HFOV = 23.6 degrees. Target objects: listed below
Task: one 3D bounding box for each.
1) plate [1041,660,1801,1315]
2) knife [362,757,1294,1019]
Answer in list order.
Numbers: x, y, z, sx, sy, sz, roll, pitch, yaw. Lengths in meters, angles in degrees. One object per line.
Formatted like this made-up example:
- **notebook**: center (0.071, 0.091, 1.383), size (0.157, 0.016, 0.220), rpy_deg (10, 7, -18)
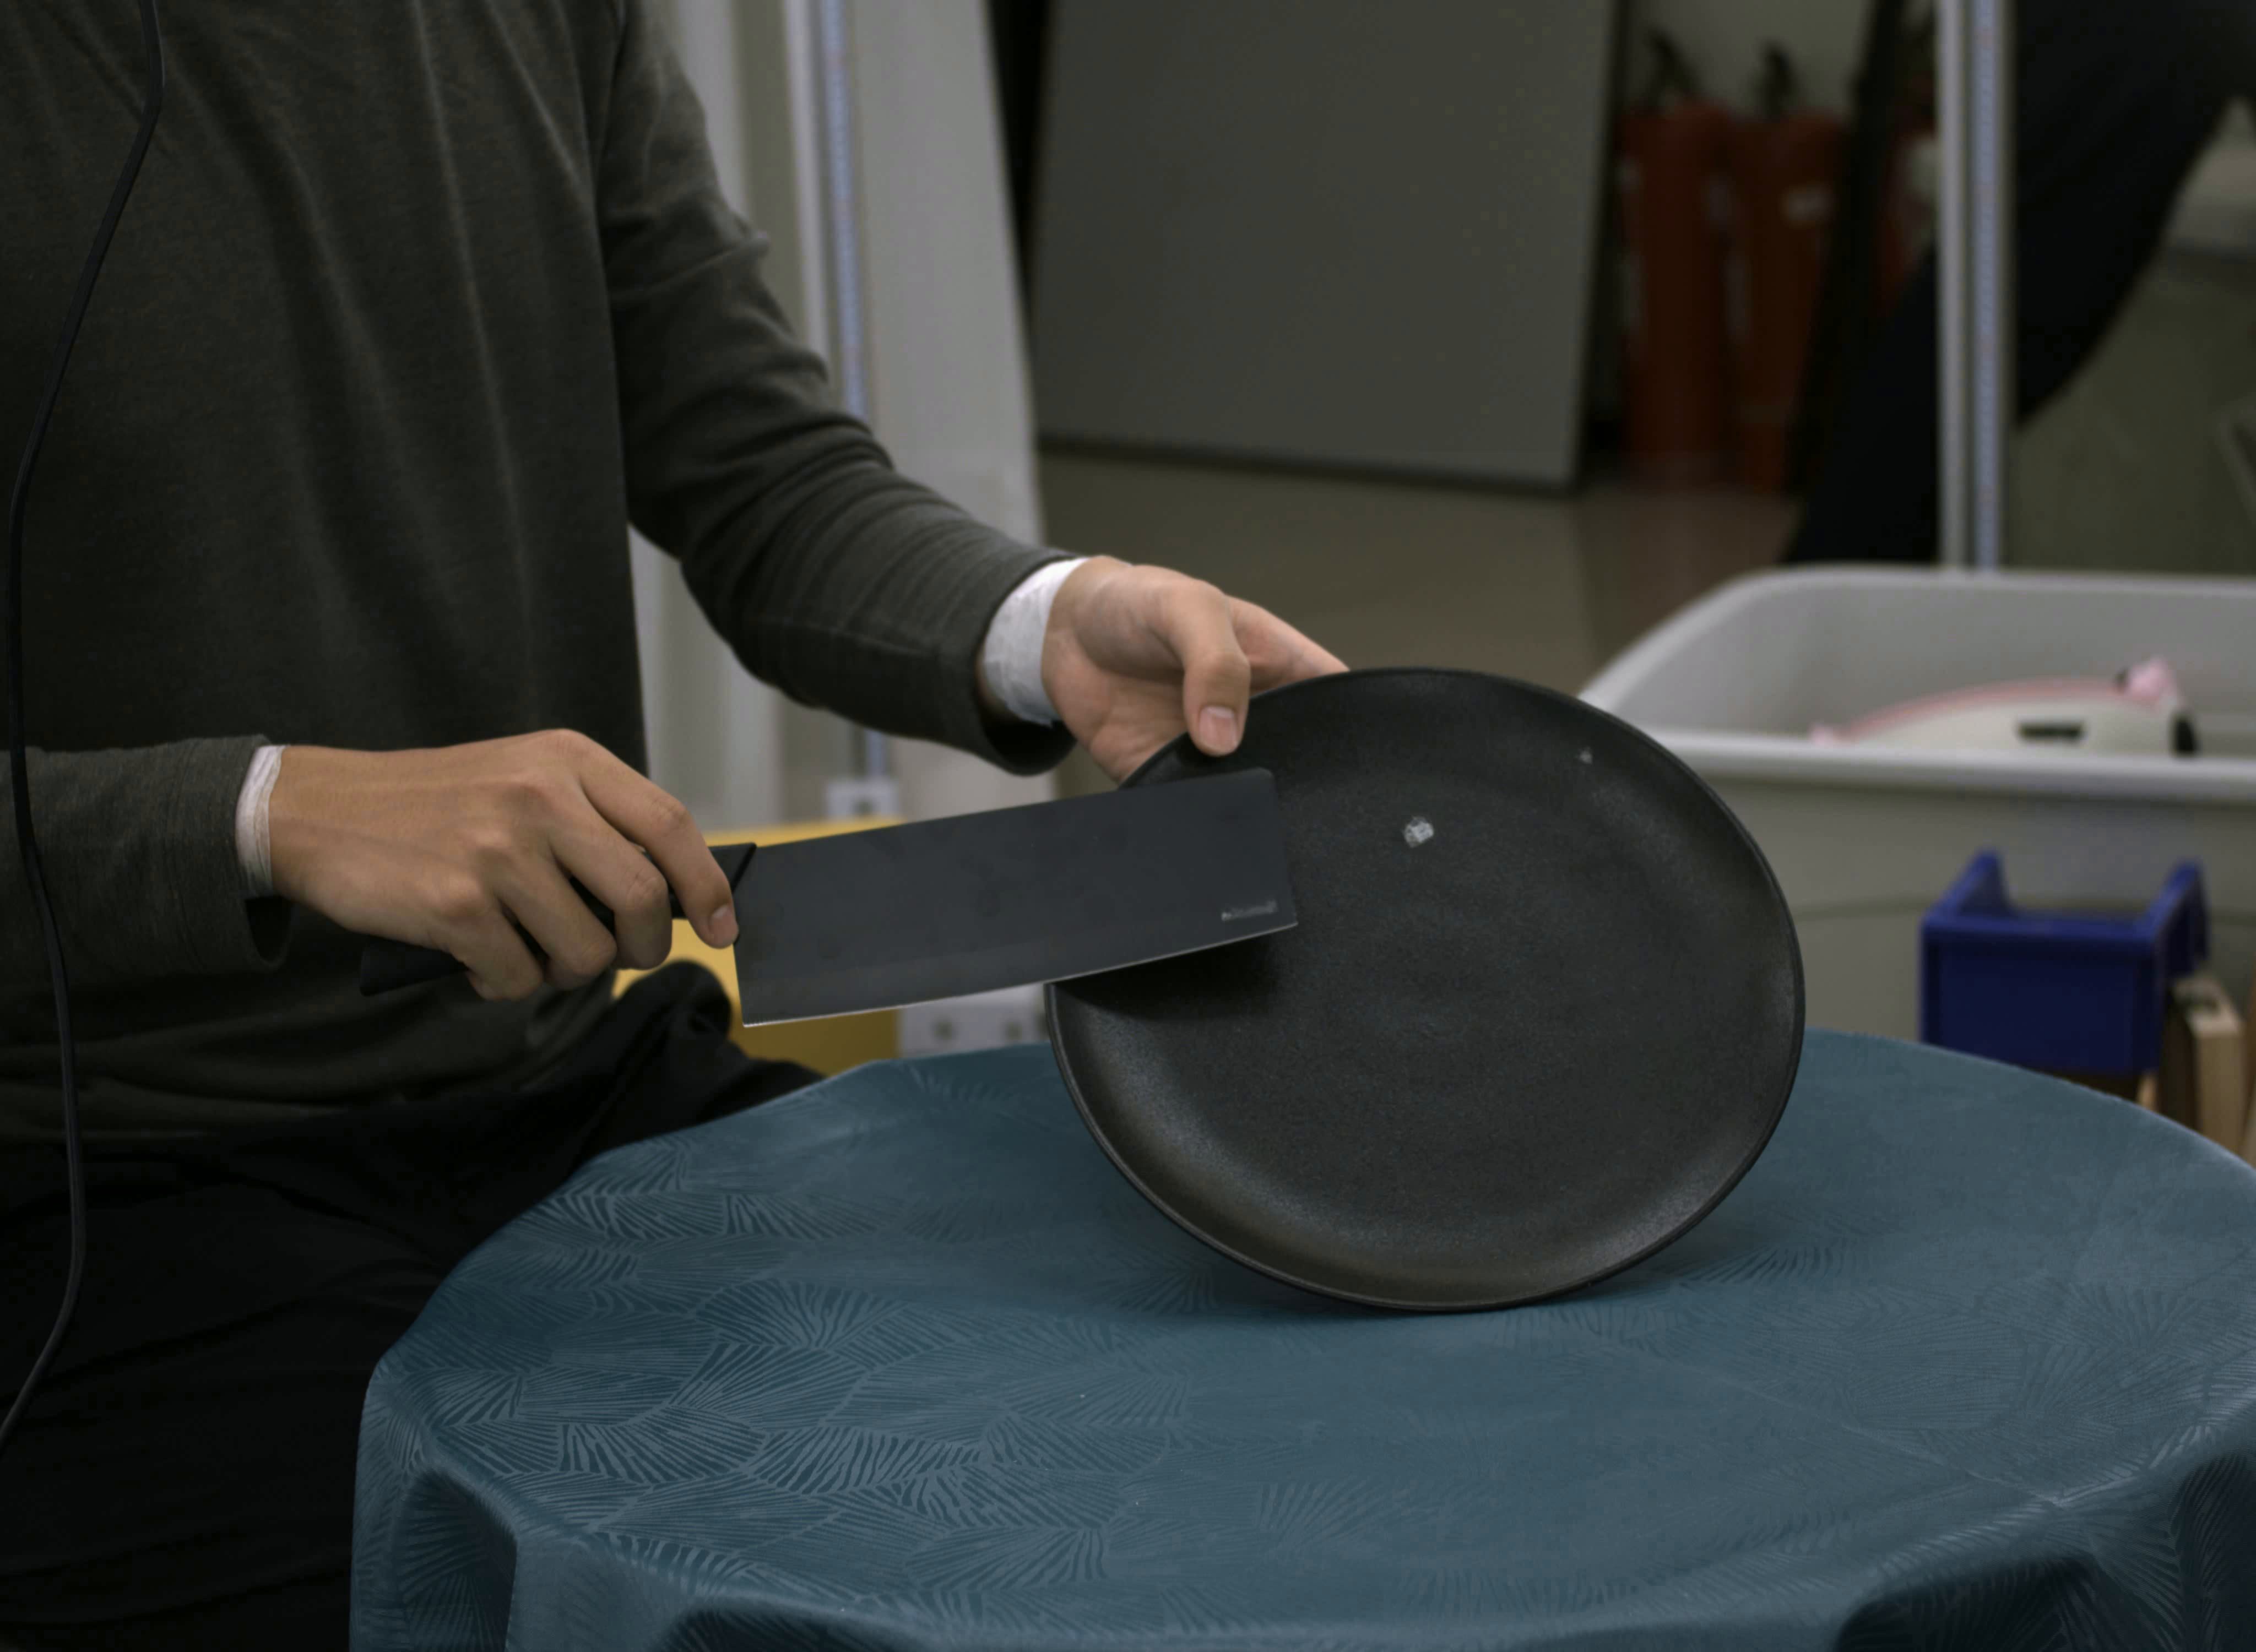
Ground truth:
- **plate**: center (0.093, 0.053, 1.709), size (0.241, 0.023, 0.247), rpy_deg (-1, 56, 0)
- **knife**: center (-0.096, 0.027, 1.725), size (0.299, 0.082, 0.021), rpy_deg (-6, -32, 4)
